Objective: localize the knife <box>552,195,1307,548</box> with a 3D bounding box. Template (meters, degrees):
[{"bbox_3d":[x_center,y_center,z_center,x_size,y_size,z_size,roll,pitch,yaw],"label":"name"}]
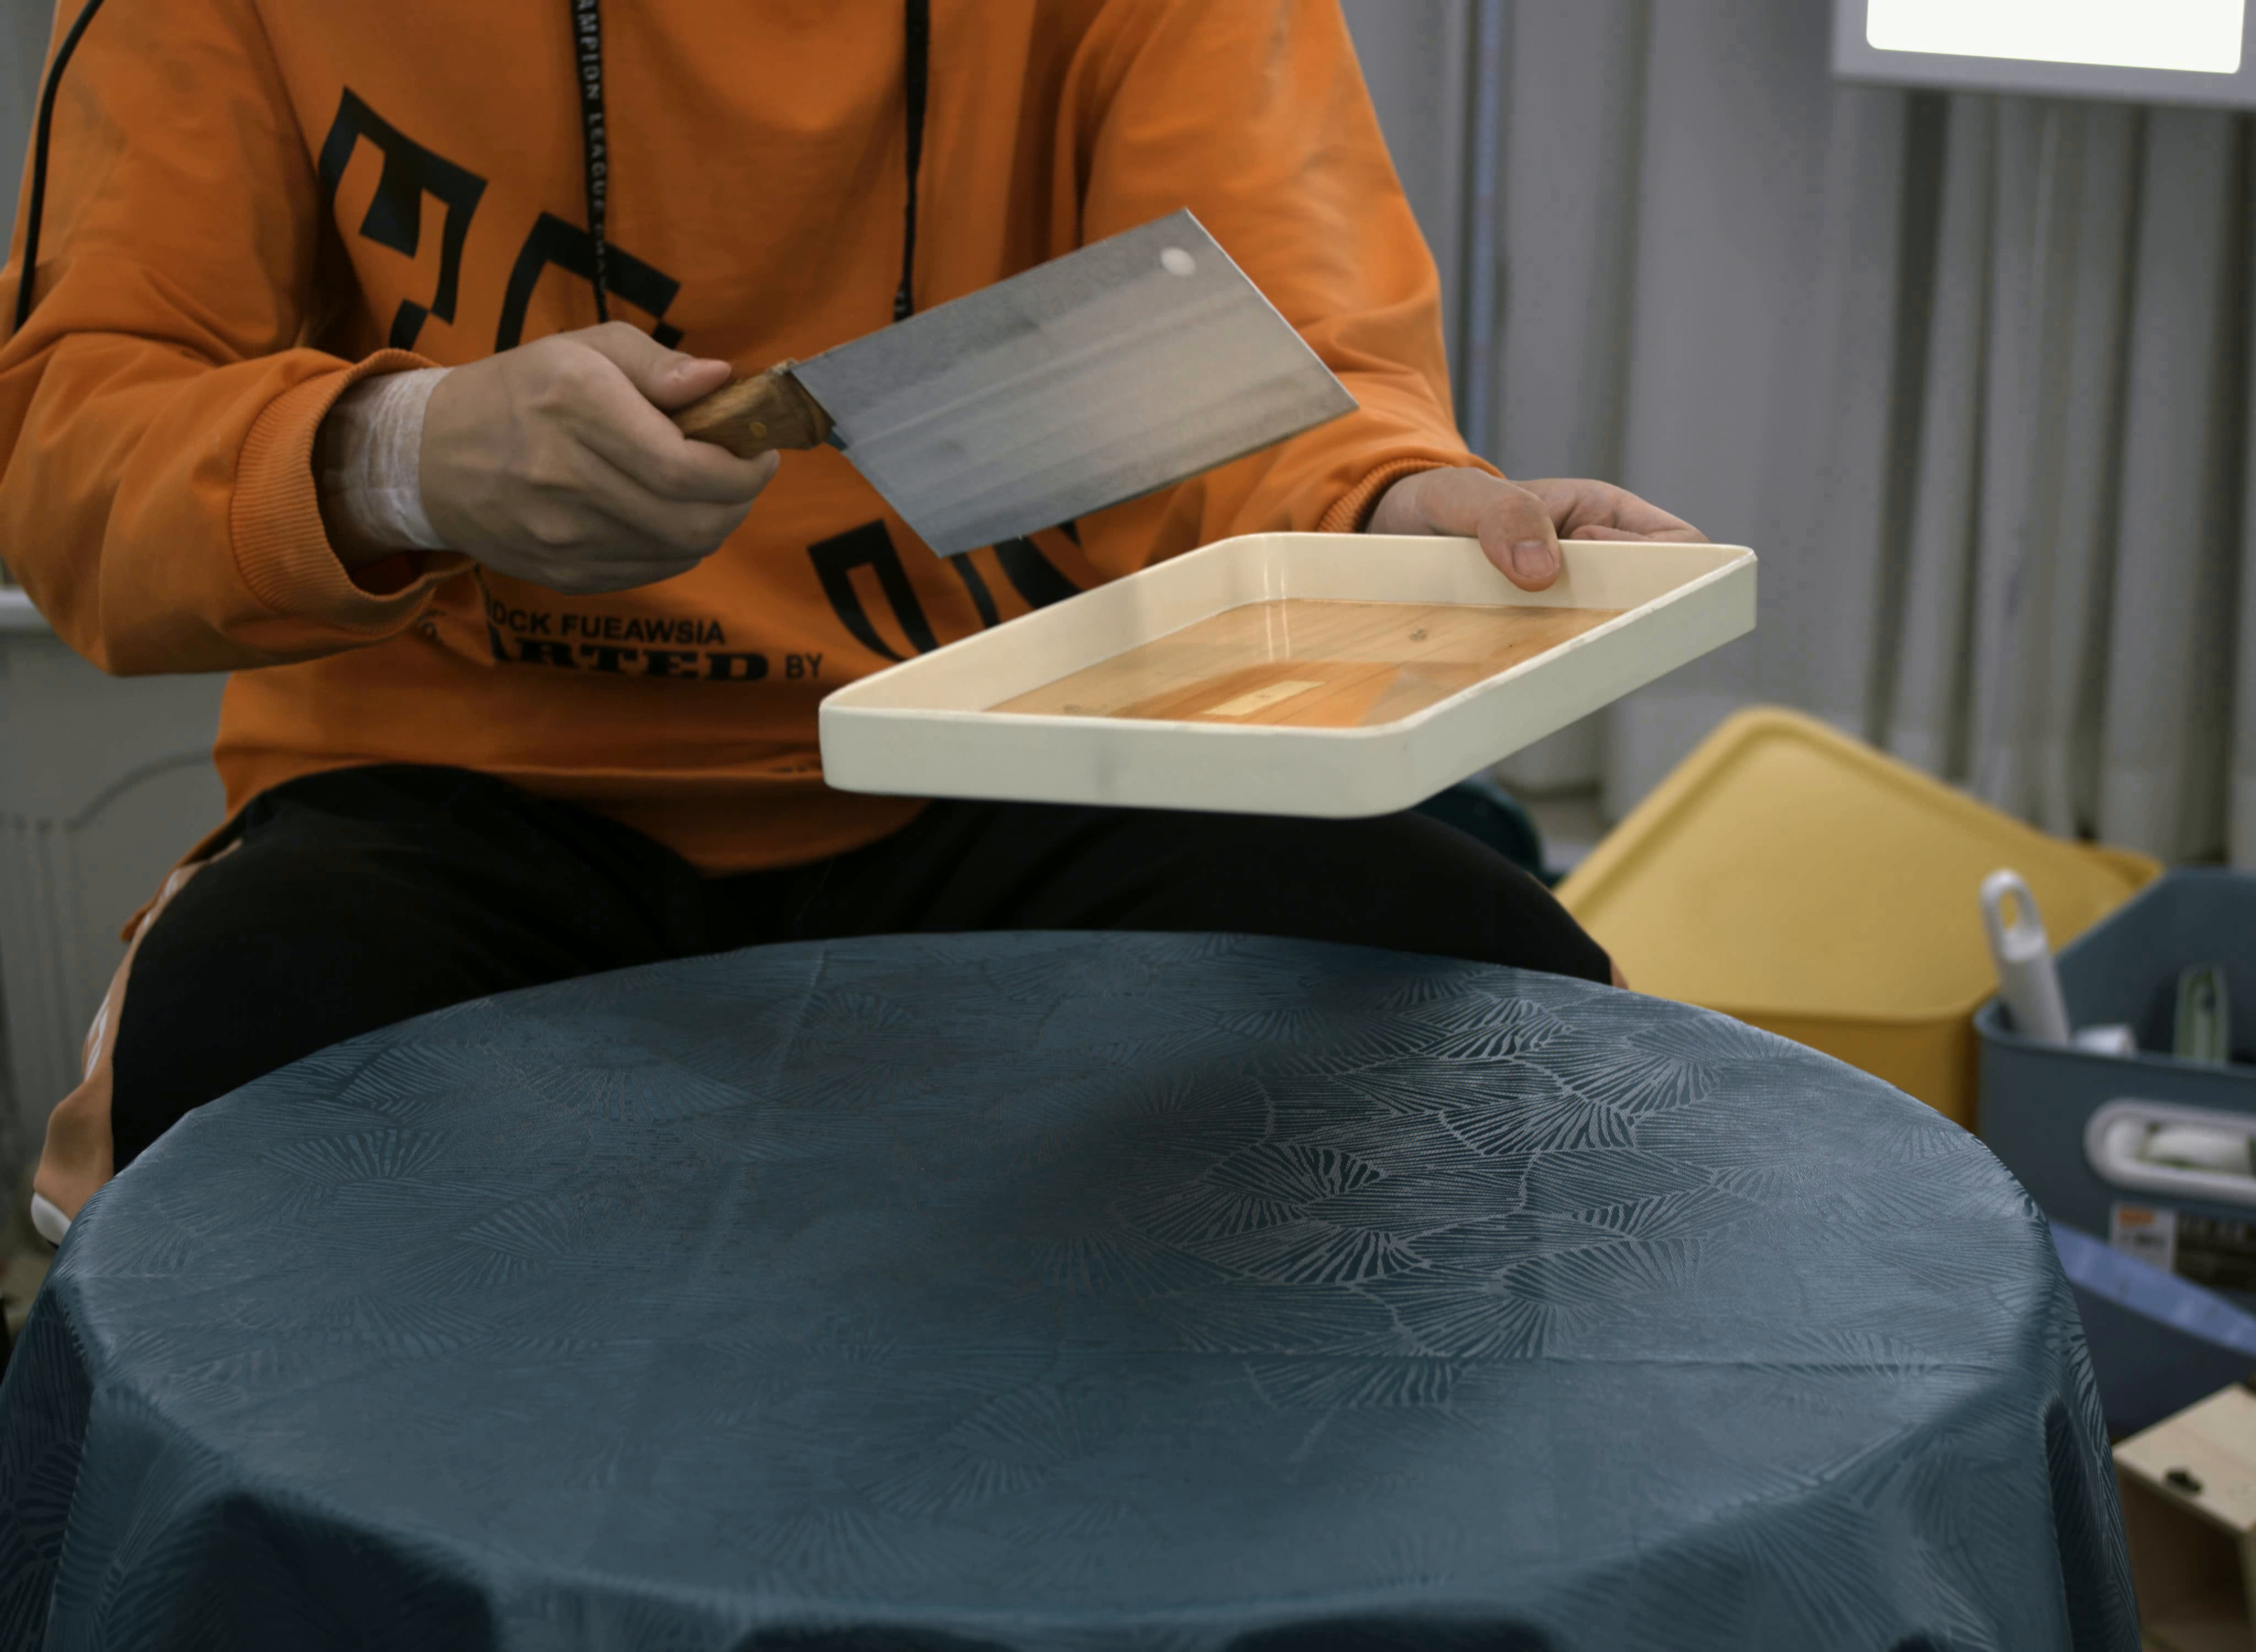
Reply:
[{"bbox_3d":[-0.065,-0.129,1.697,0.303,0.094,0.021,-17,38,42],"label":"knife"}]

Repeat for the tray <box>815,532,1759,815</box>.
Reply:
[{"bbox_3d":[0.056,-0.050,1.598,0.189,0.027,0.301,3,14,27],"label":"tray"}]
